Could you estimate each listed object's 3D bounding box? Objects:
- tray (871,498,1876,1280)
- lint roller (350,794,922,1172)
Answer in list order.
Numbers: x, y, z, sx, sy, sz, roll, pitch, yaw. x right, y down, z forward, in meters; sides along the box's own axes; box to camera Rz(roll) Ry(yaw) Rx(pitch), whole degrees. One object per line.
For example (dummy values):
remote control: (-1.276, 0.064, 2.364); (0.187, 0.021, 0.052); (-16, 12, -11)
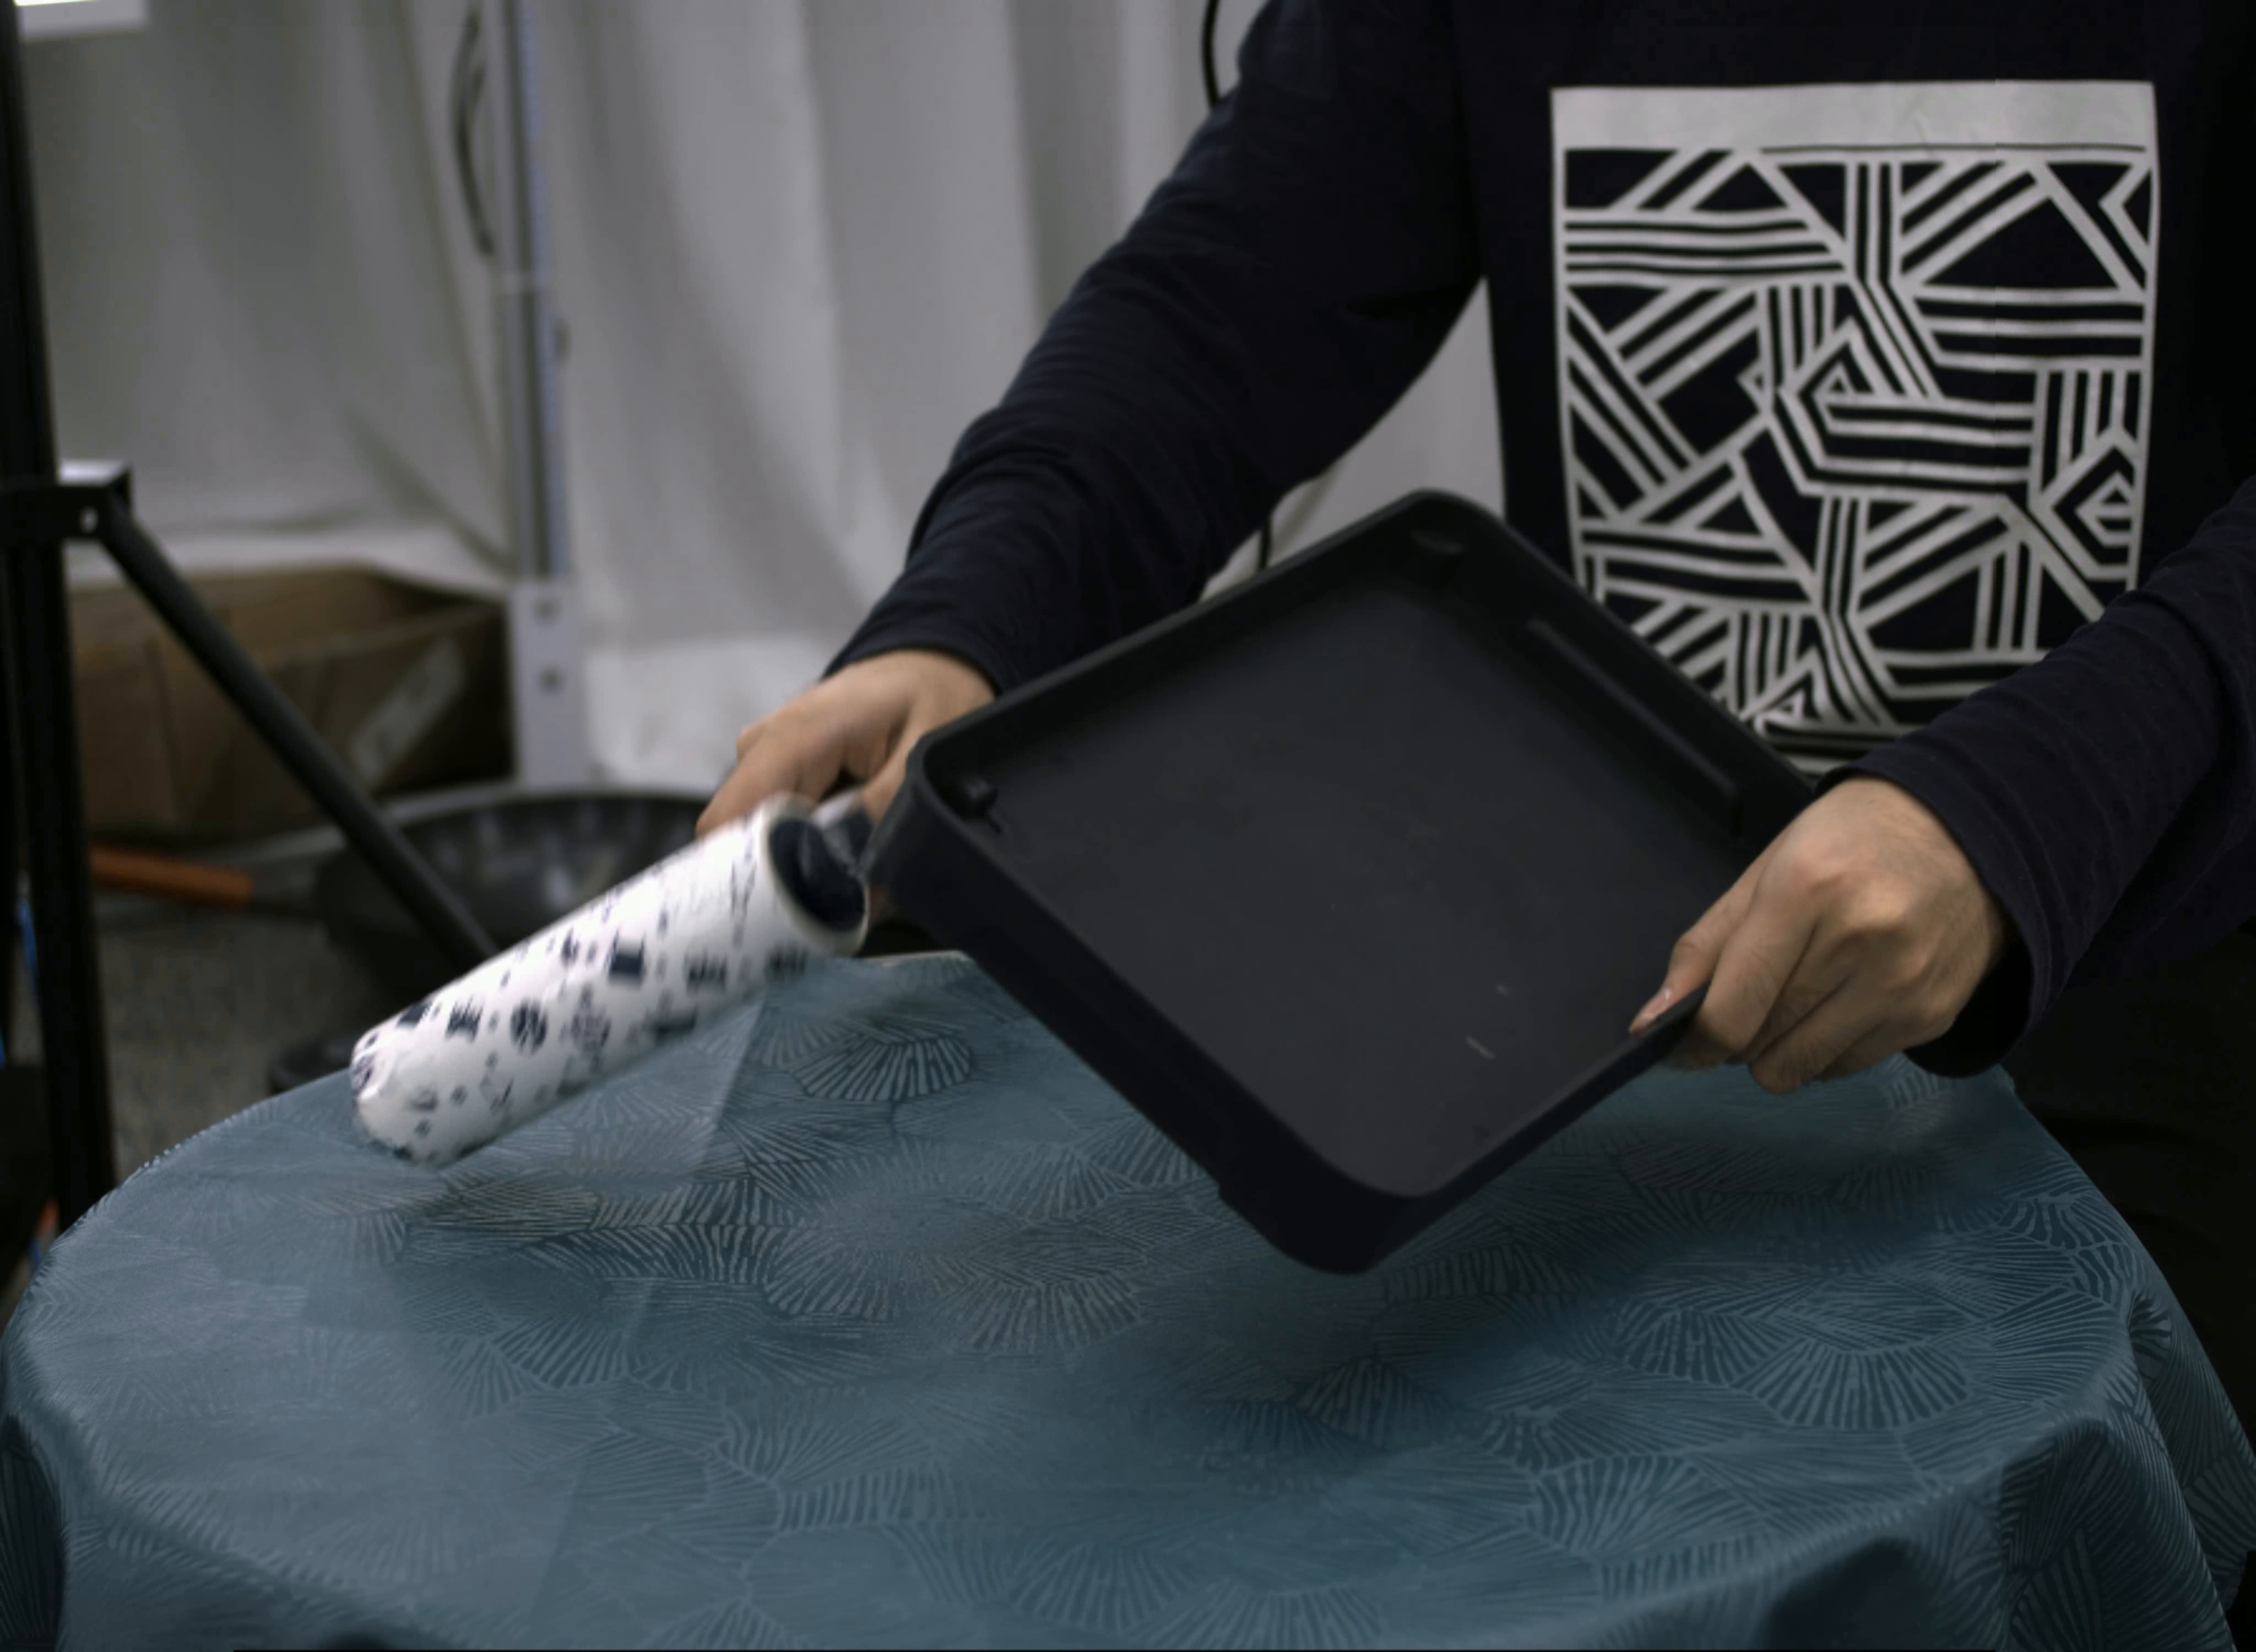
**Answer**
tray: (0.076, 0.009, 1.484); (0.186, 0.037, 0.312); (41, 33, 15)
lint roller: (-0.114, 0.024, 1.624); (0.178, 0.050, 0.243); (-27, 3, 28)
